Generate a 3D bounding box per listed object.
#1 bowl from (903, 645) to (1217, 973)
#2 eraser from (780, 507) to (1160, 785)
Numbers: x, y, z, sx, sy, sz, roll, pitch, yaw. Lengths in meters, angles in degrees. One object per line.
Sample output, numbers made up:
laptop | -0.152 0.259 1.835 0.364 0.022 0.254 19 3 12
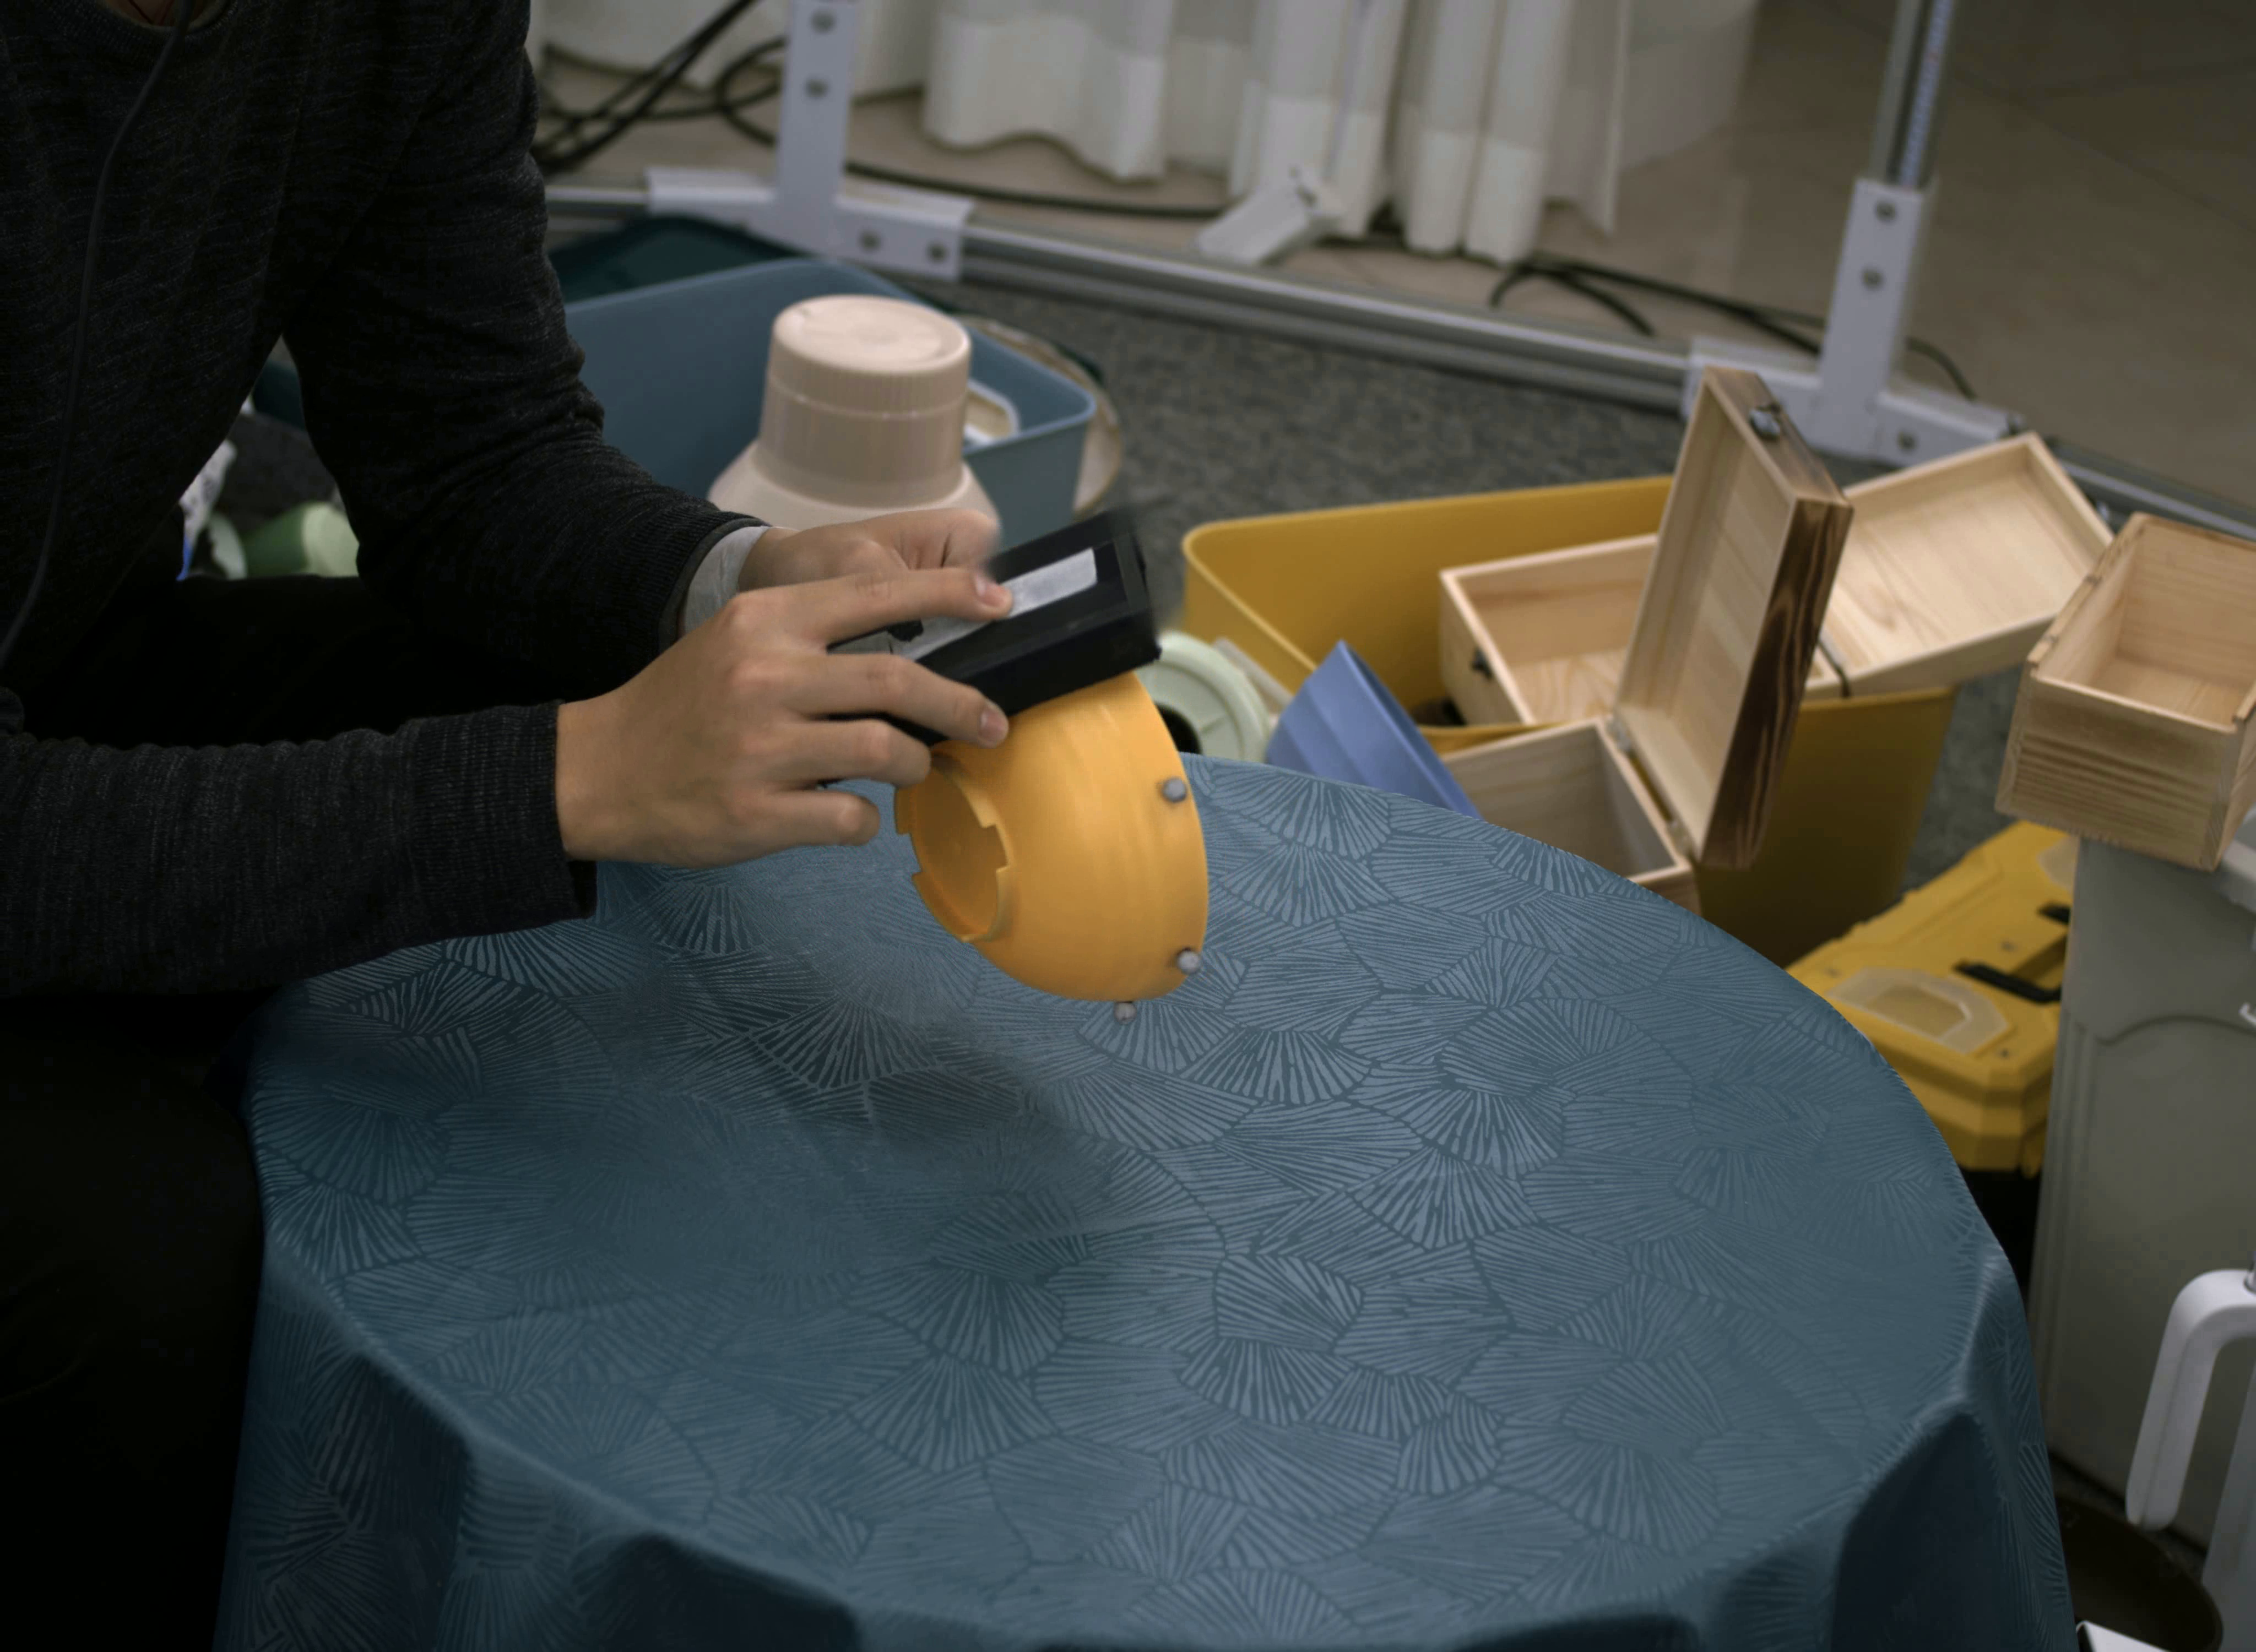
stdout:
bowl | -0.035 -0.010 1.801 0.060 0.144 0.146 -20 36 -29
eraser | -0.052 -0.060 1.766 0.125 0.030 0.054 -23 42 7
